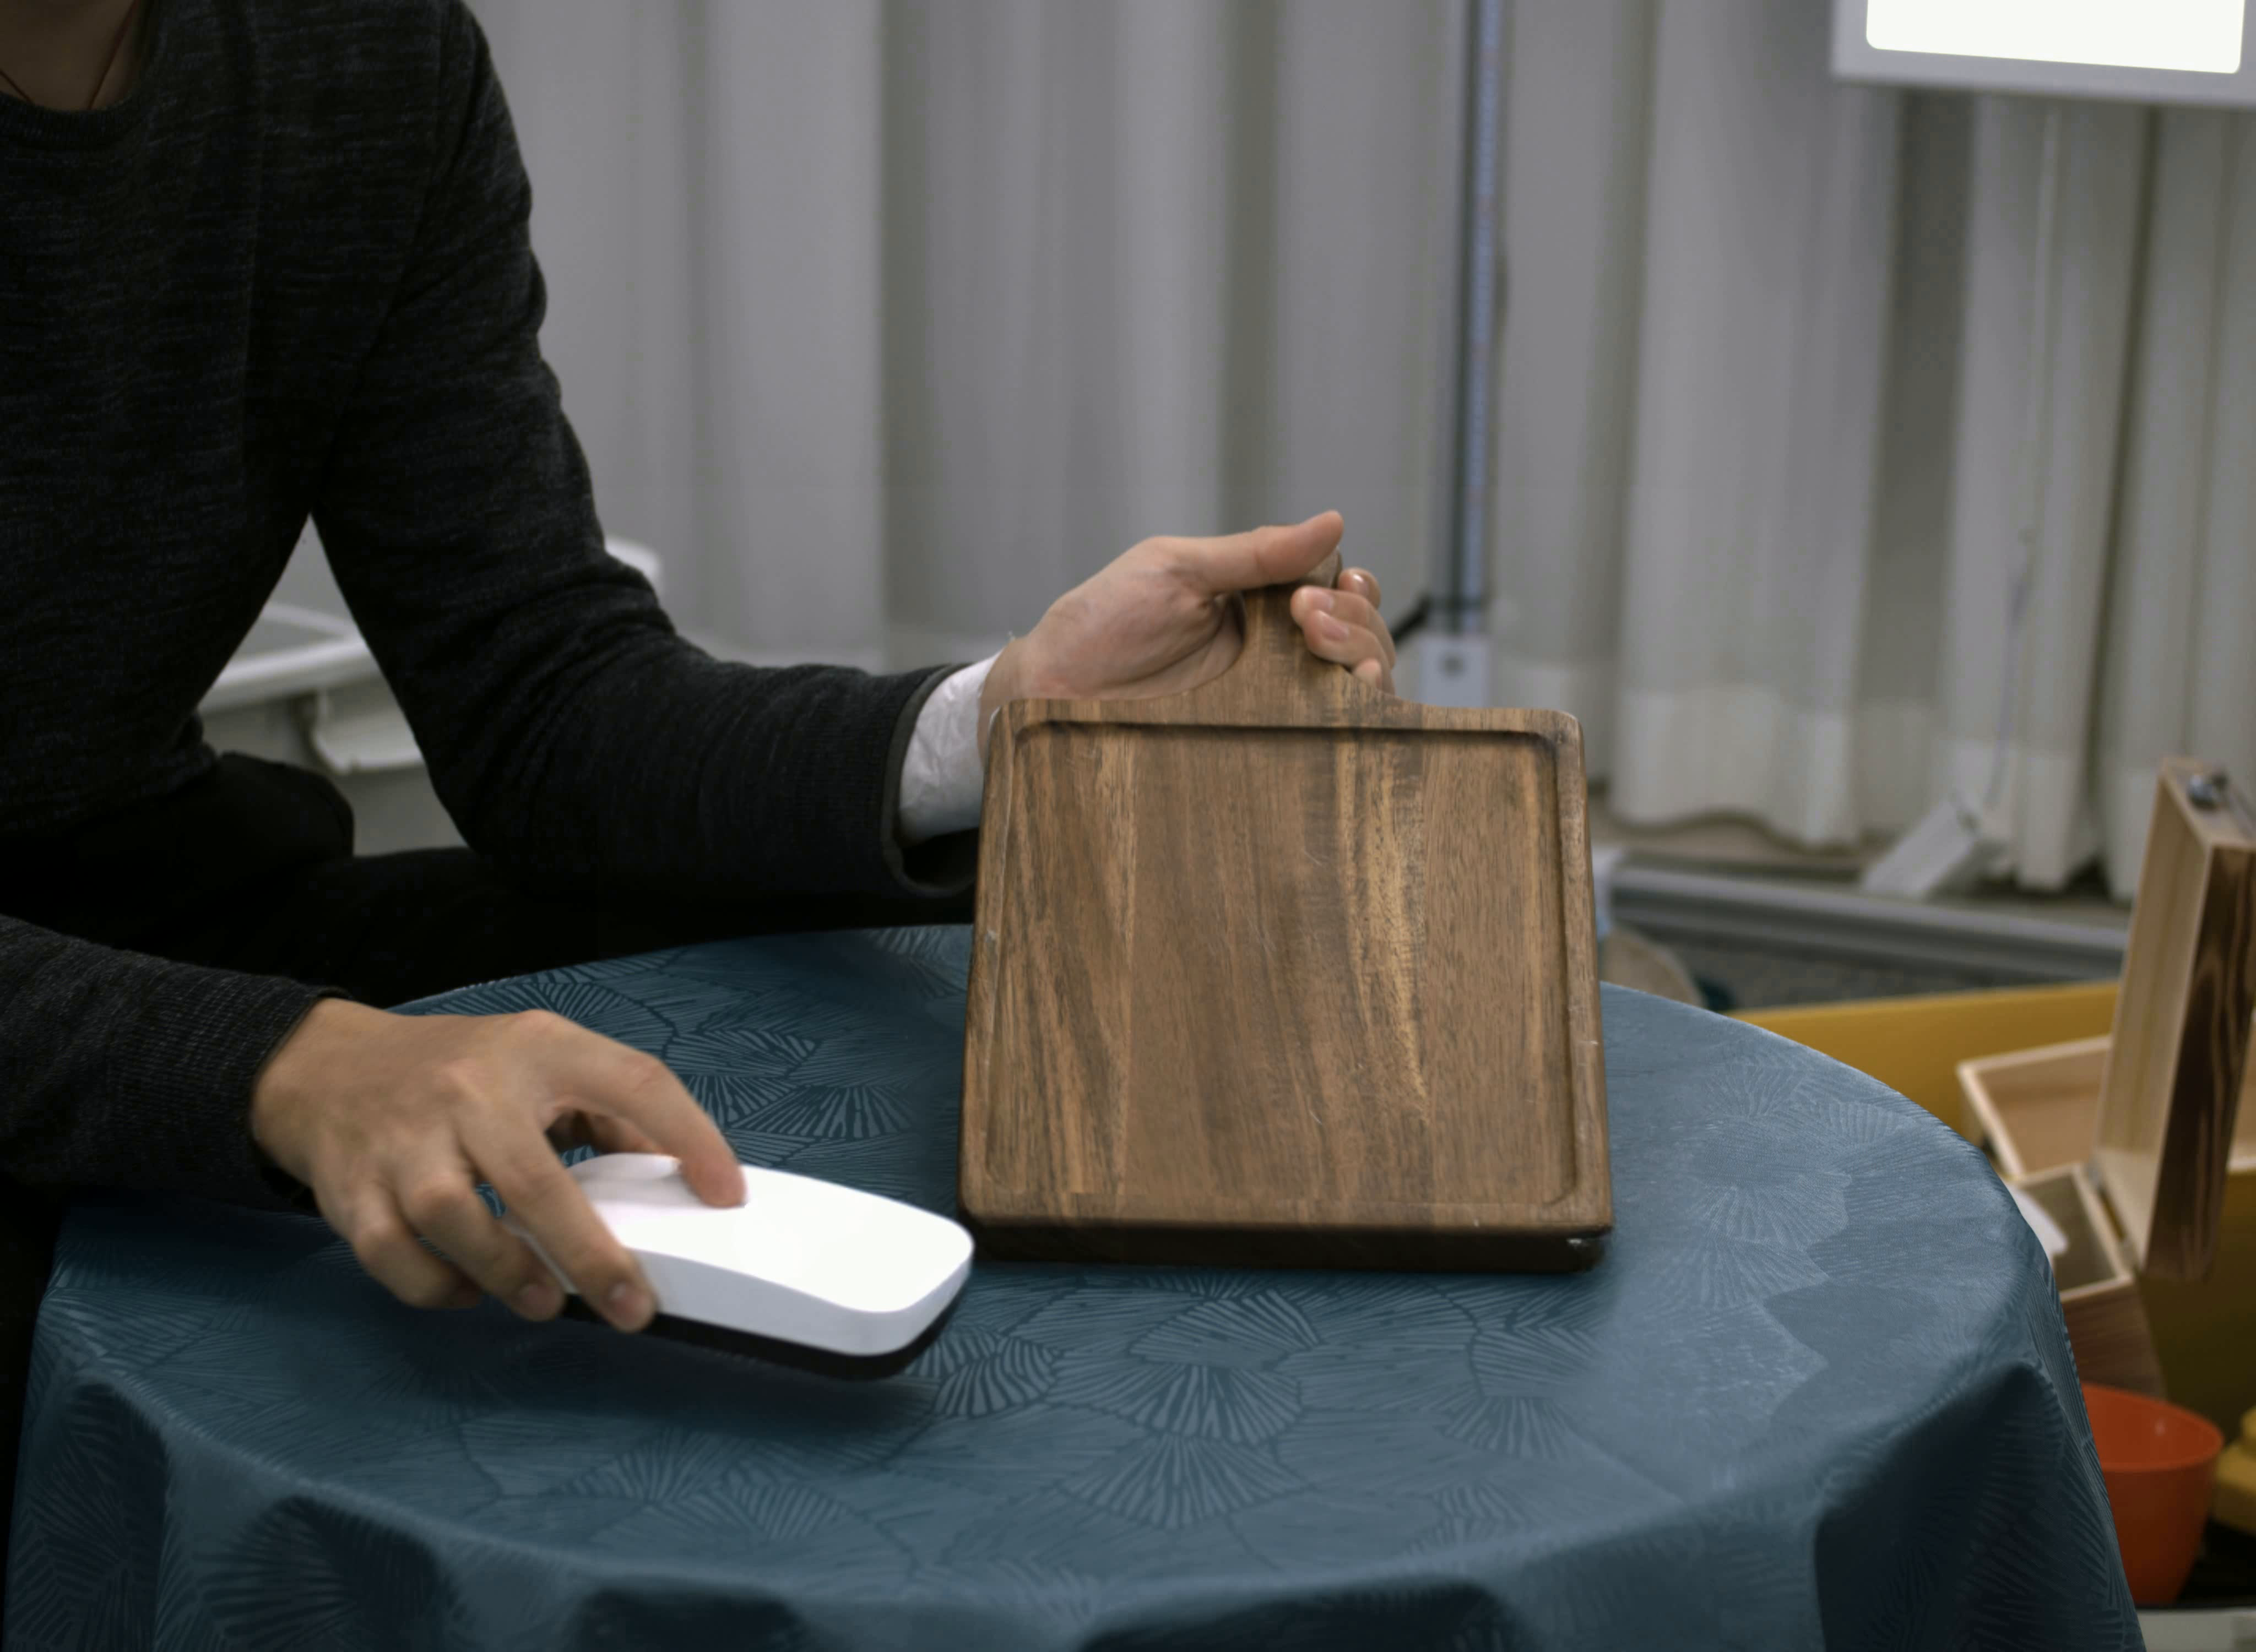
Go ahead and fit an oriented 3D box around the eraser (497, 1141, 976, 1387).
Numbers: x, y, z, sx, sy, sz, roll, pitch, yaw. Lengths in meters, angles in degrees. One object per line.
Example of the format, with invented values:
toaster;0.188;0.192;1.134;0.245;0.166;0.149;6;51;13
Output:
eraser;-0.108;0.119;1.460;0.130;0.035;0.063;11;25;23

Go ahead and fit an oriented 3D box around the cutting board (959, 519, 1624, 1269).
cutting board;0.050;0.013;1.681;0.200;0.023;0.349;1;40;0
